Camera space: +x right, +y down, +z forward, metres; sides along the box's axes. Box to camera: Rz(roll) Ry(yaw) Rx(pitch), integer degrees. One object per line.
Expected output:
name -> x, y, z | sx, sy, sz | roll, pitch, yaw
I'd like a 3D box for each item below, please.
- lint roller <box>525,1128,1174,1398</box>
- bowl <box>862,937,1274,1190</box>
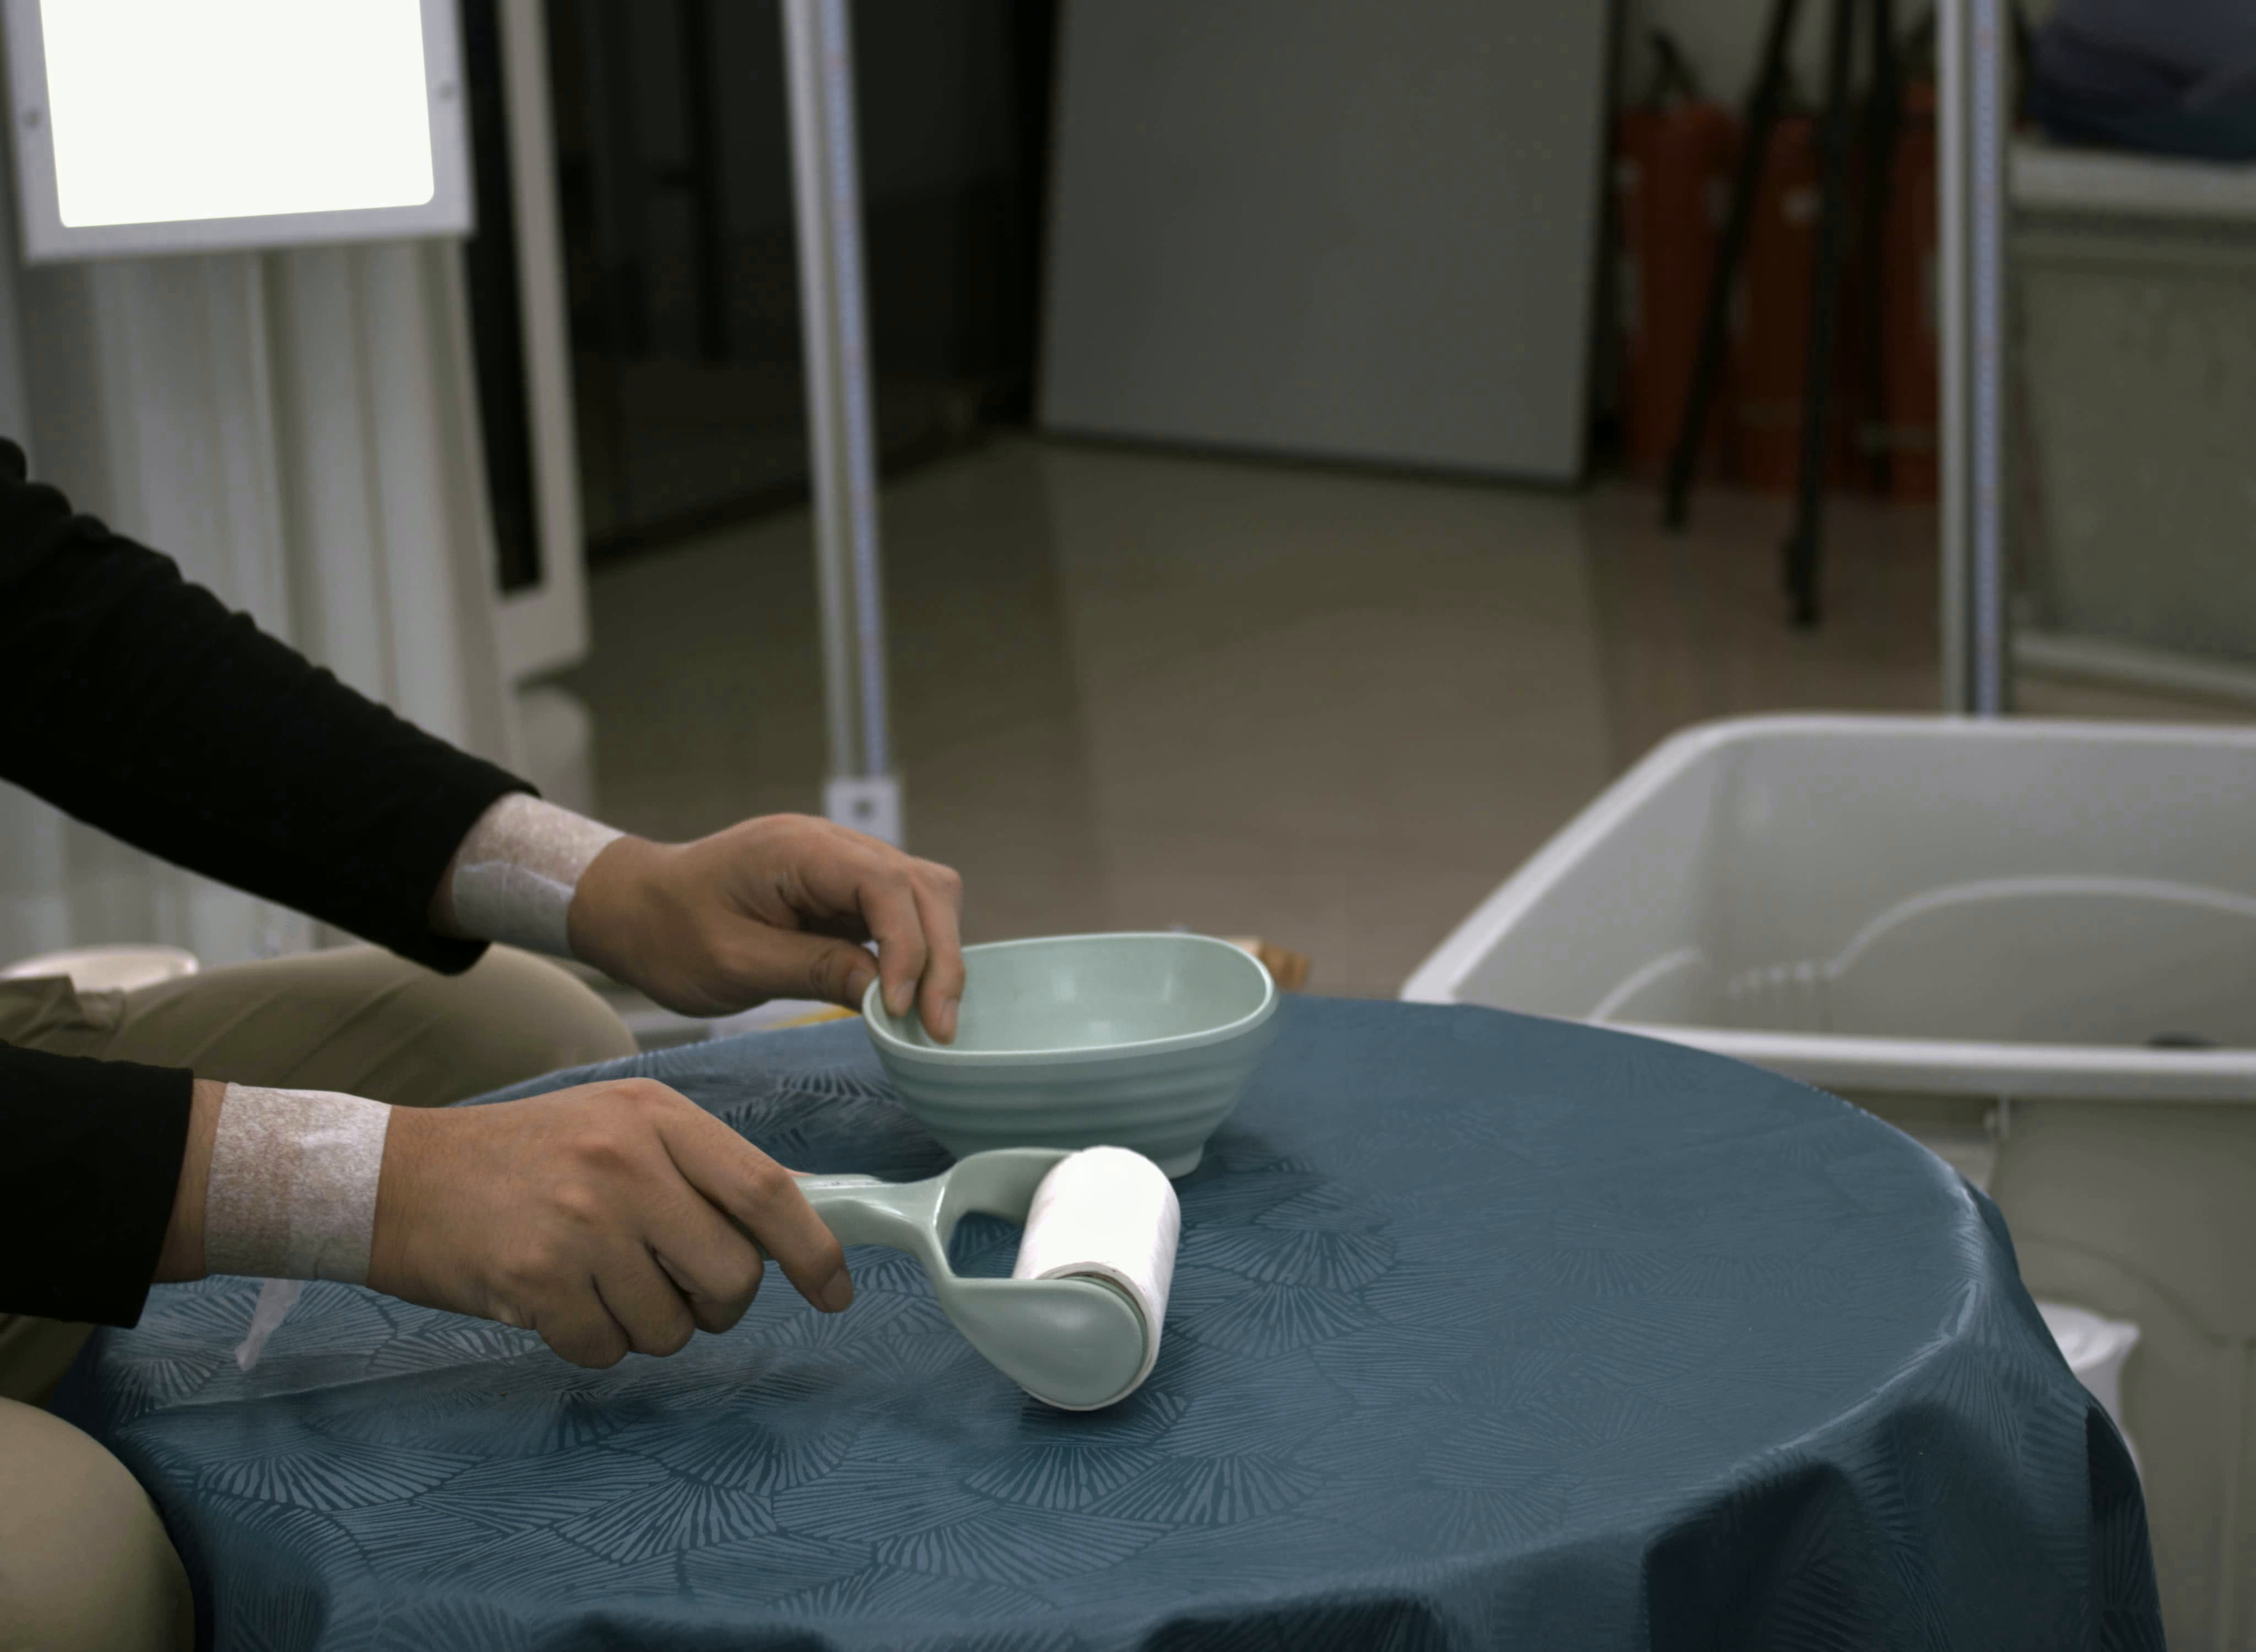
lint roller -> -0.083, 0.126, 1.619 | 0.195, 0.049, 0.116 | 4, 19, 4
bowl -> -0.019, 0.084, 1.808 | 0.149, 0.059, 0.152 | -3, 14, 0
